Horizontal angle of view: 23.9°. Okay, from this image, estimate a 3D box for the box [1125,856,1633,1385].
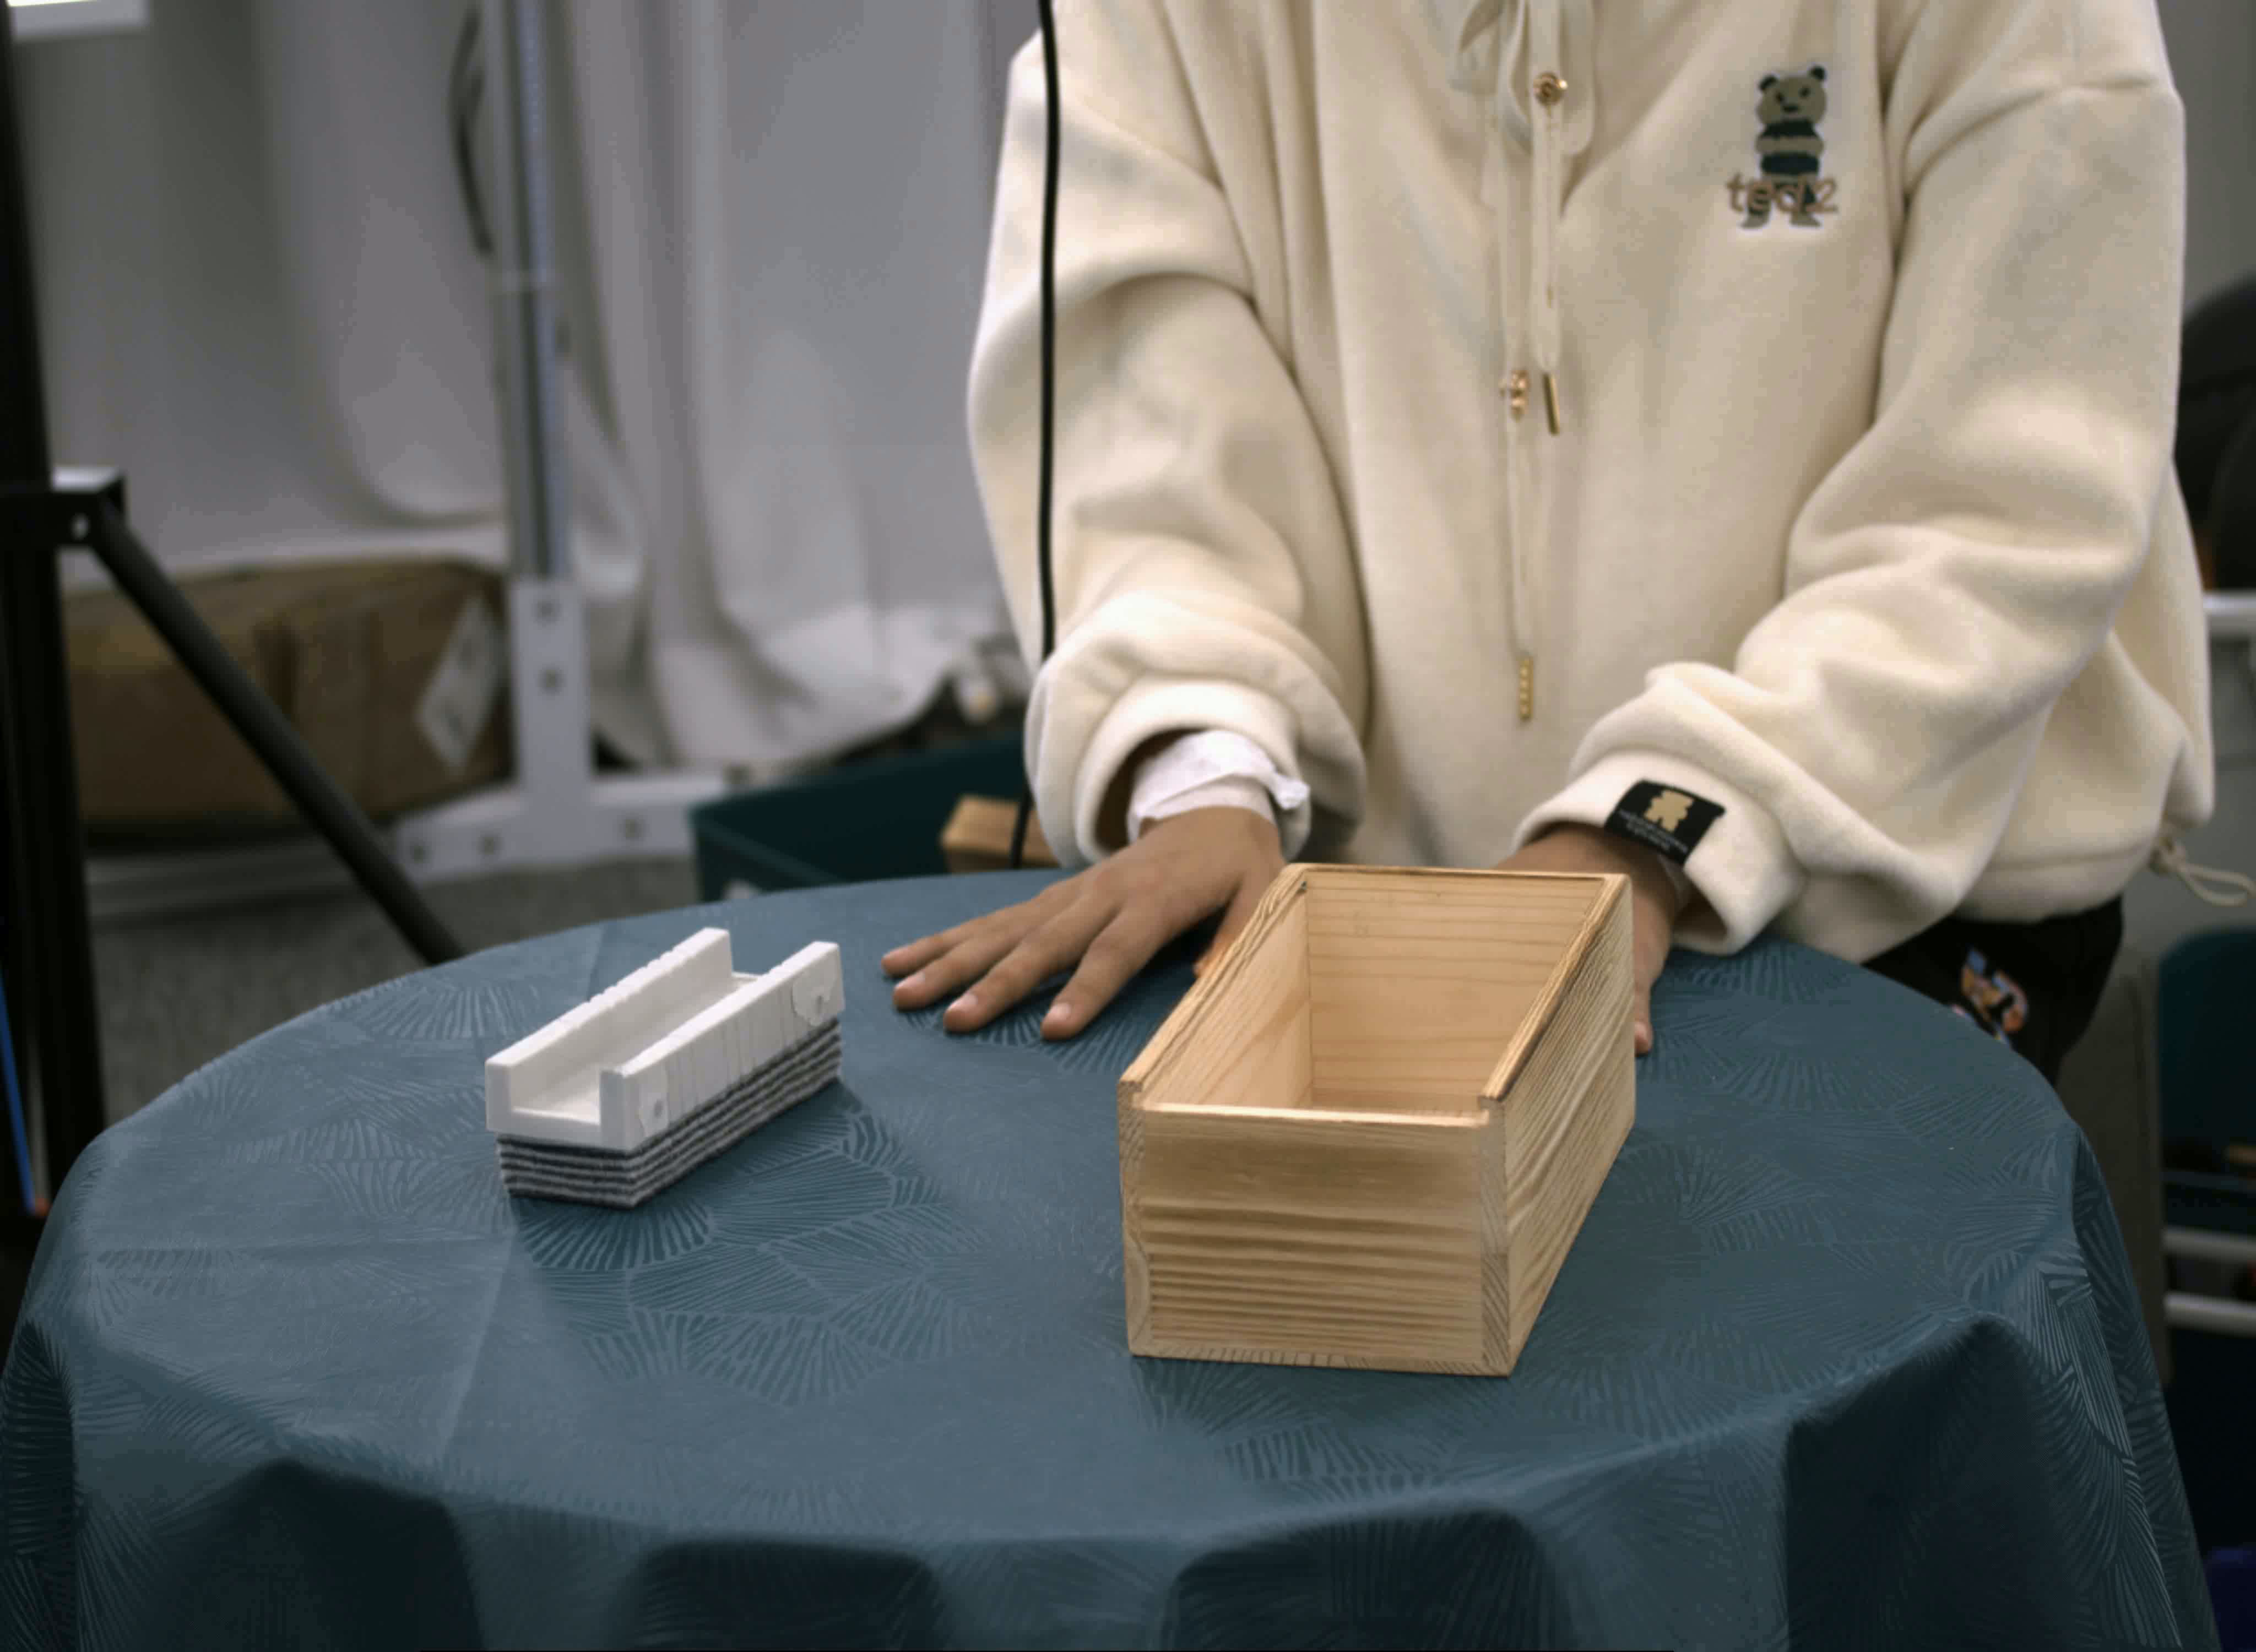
[{"bbox_3d":[0.076,0.079,1.503,0.108,0.080,0.210,2,17,14],"label":"box"}]

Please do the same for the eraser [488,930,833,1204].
[{"bbox_3d":[-0.140,0.072,1.622,0.050,0.046,0.132,3,18,24],"label":"eraser"}]
